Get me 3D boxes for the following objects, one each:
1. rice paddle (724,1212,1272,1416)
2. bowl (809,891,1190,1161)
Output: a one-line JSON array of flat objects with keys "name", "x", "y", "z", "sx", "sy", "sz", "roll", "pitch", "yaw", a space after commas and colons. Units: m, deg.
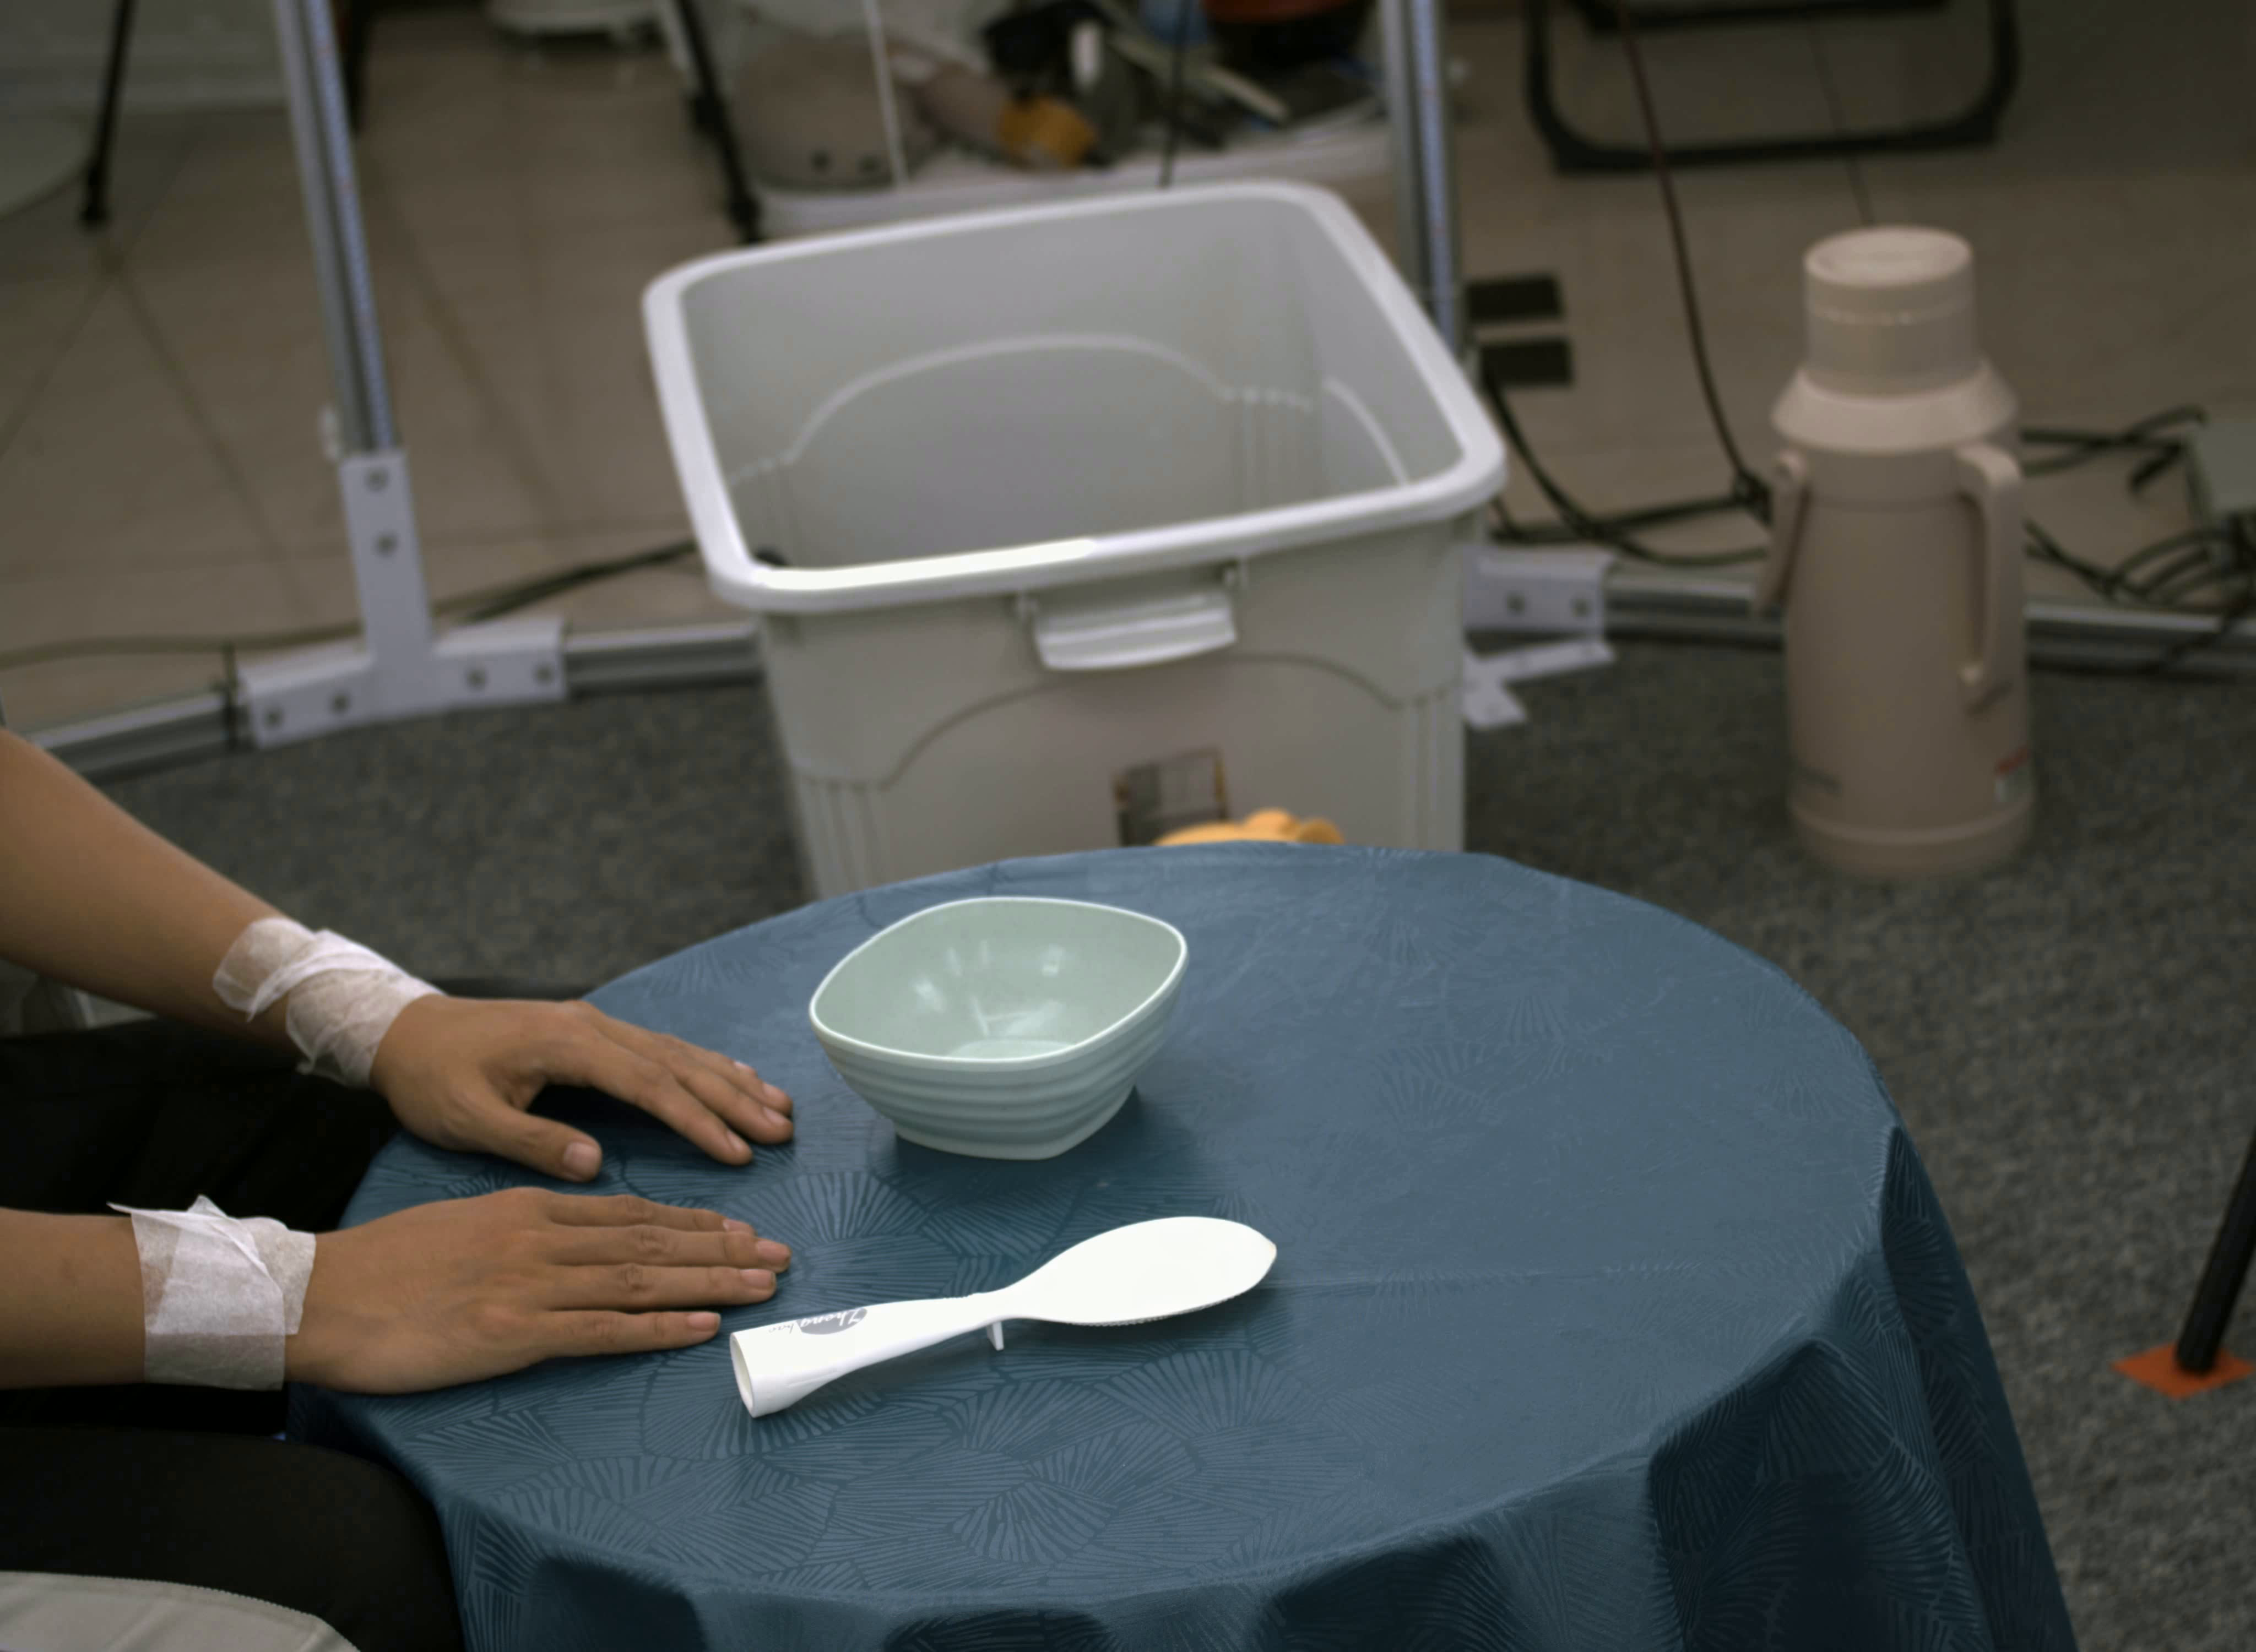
[{"name": "rice paddle", "x": -0.045, "y": 0.172, "z": 2.054, "sx": 0.204, "sy": 0.030, "sz": 0.068, "roll": -13, "pitch": 28, "yaw": -15}, {"name": "bowl", "x": -0.048, "y": 0.083, "z": 2.214, "sx": 0.151, "sy": 0.059, "sz": 0.149, "roll": -4, "pitch": 27, "yaw": 2}]
